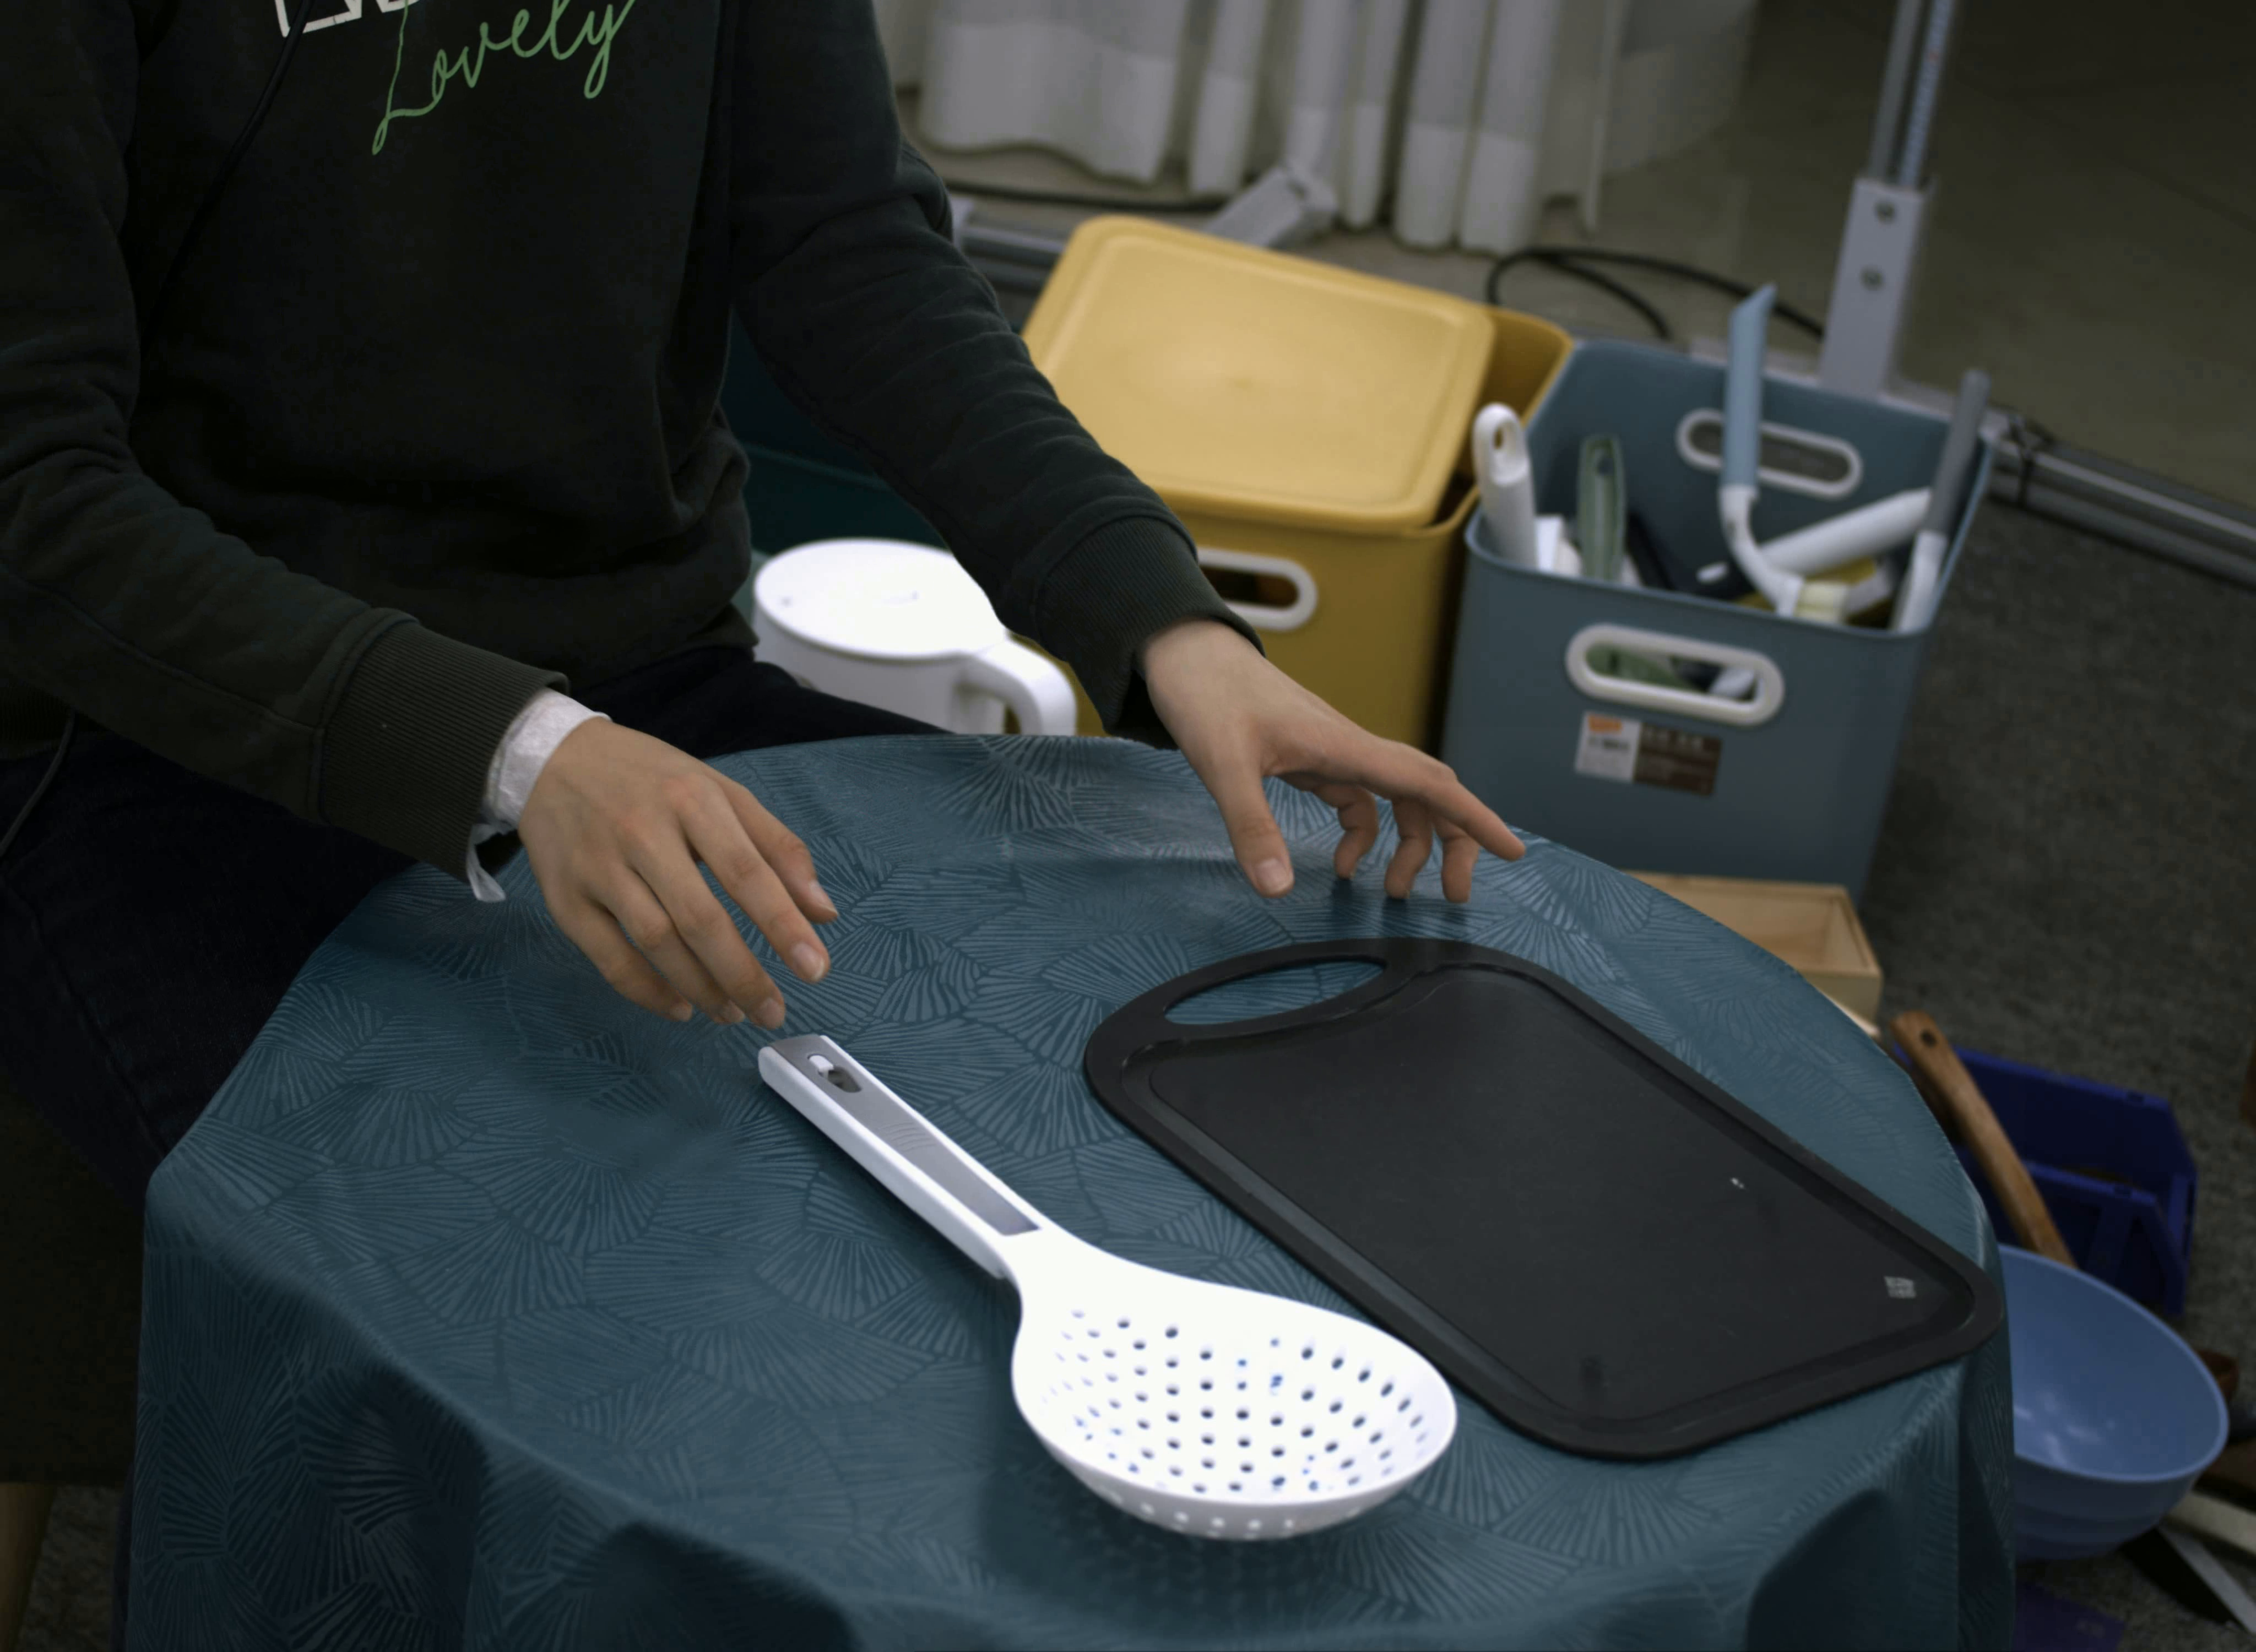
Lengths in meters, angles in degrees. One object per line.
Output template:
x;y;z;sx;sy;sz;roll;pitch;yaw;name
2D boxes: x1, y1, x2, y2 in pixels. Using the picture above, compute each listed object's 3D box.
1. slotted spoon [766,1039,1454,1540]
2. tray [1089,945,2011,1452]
-0.025;0.142;1.708;0.135;0.045;0.353;-8;29;-31;slotted spoon
0.136;0.118;1.834;0.210;0.010;0.328;-13;32;-34;tray
